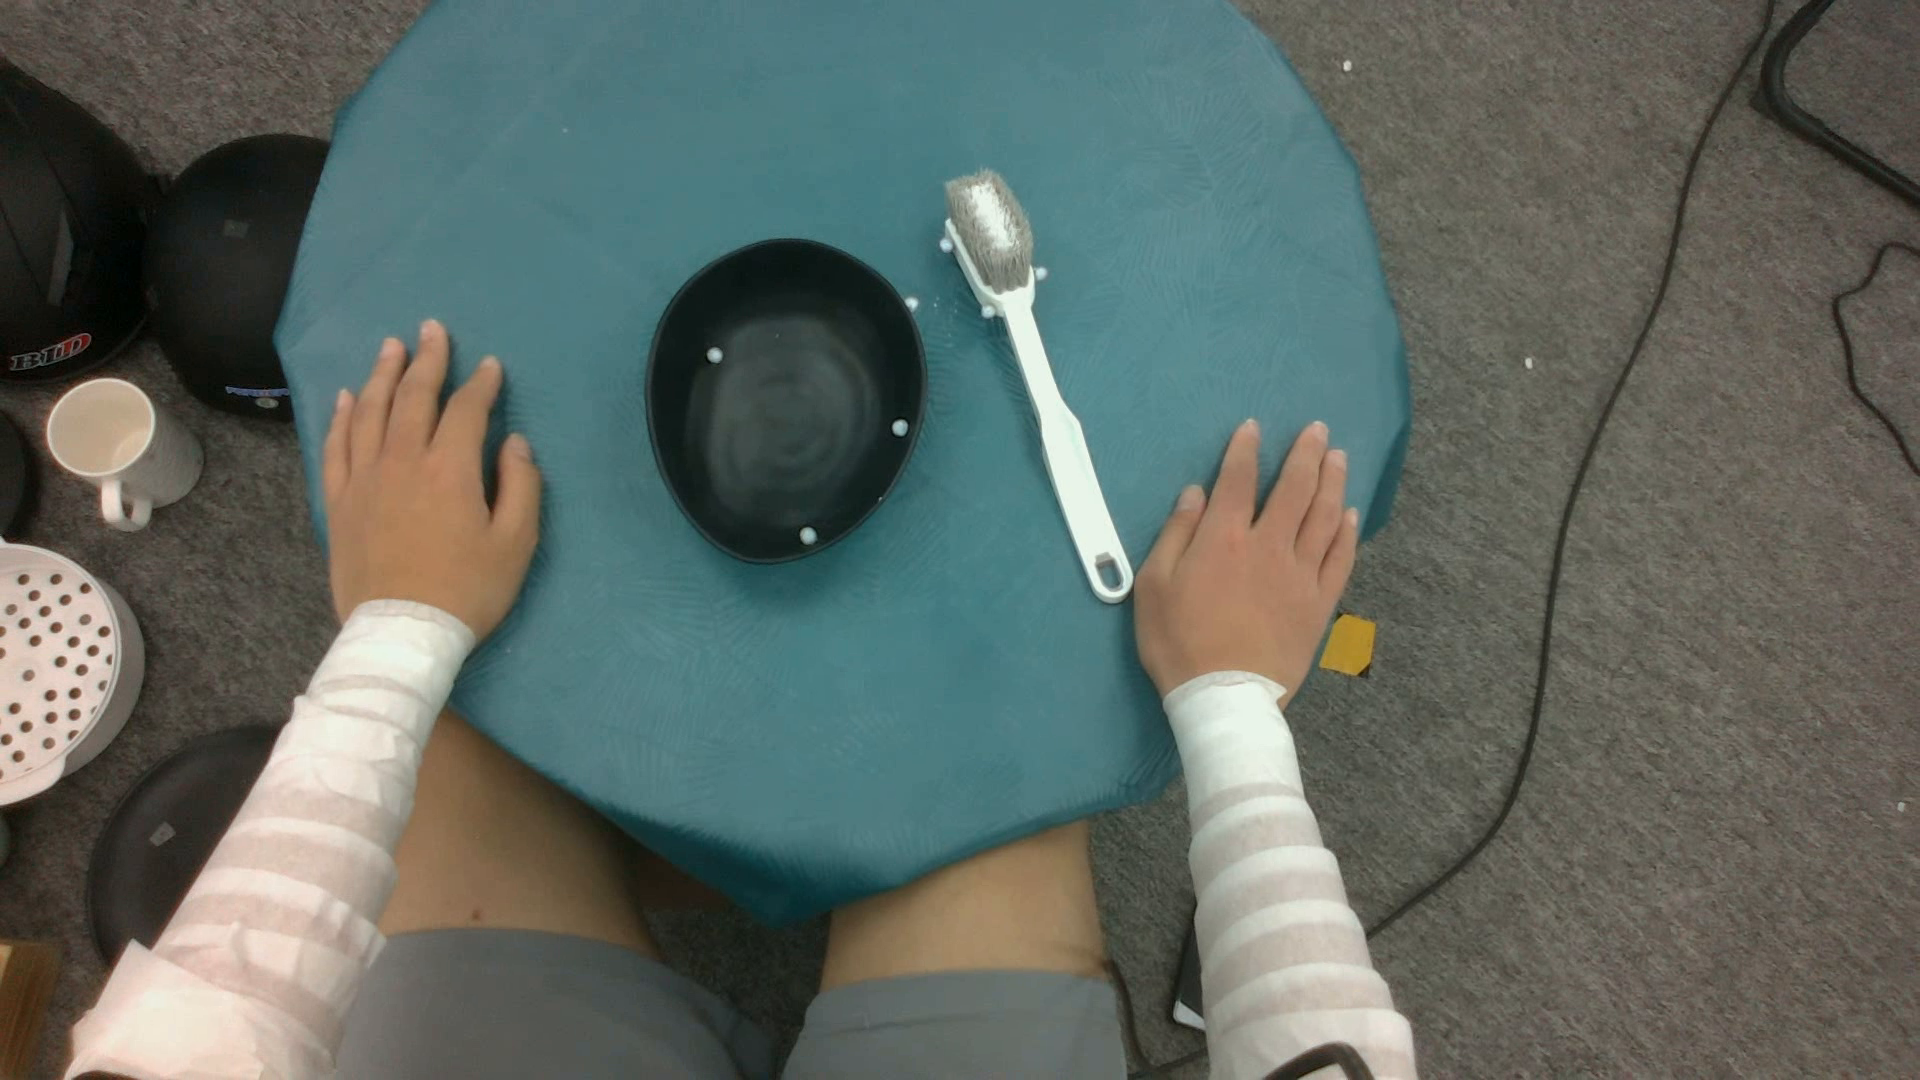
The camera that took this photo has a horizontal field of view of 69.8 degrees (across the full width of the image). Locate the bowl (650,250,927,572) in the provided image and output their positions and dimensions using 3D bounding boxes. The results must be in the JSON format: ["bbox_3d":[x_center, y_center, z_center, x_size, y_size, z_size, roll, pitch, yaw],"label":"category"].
[{"bbox_3d":[-0.088,-0.062,0.716,0.137,0.066,0.170,6,75,-4],"label":"bowl"}]

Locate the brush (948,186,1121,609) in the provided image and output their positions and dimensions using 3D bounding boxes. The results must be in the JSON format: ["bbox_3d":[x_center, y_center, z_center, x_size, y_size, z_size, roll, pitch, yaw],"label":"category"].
[{"bbox_3d":[0.043,-0.080,0.742,0.034,0.050,0.244,-15,75,-11],"label":"brush"}]
